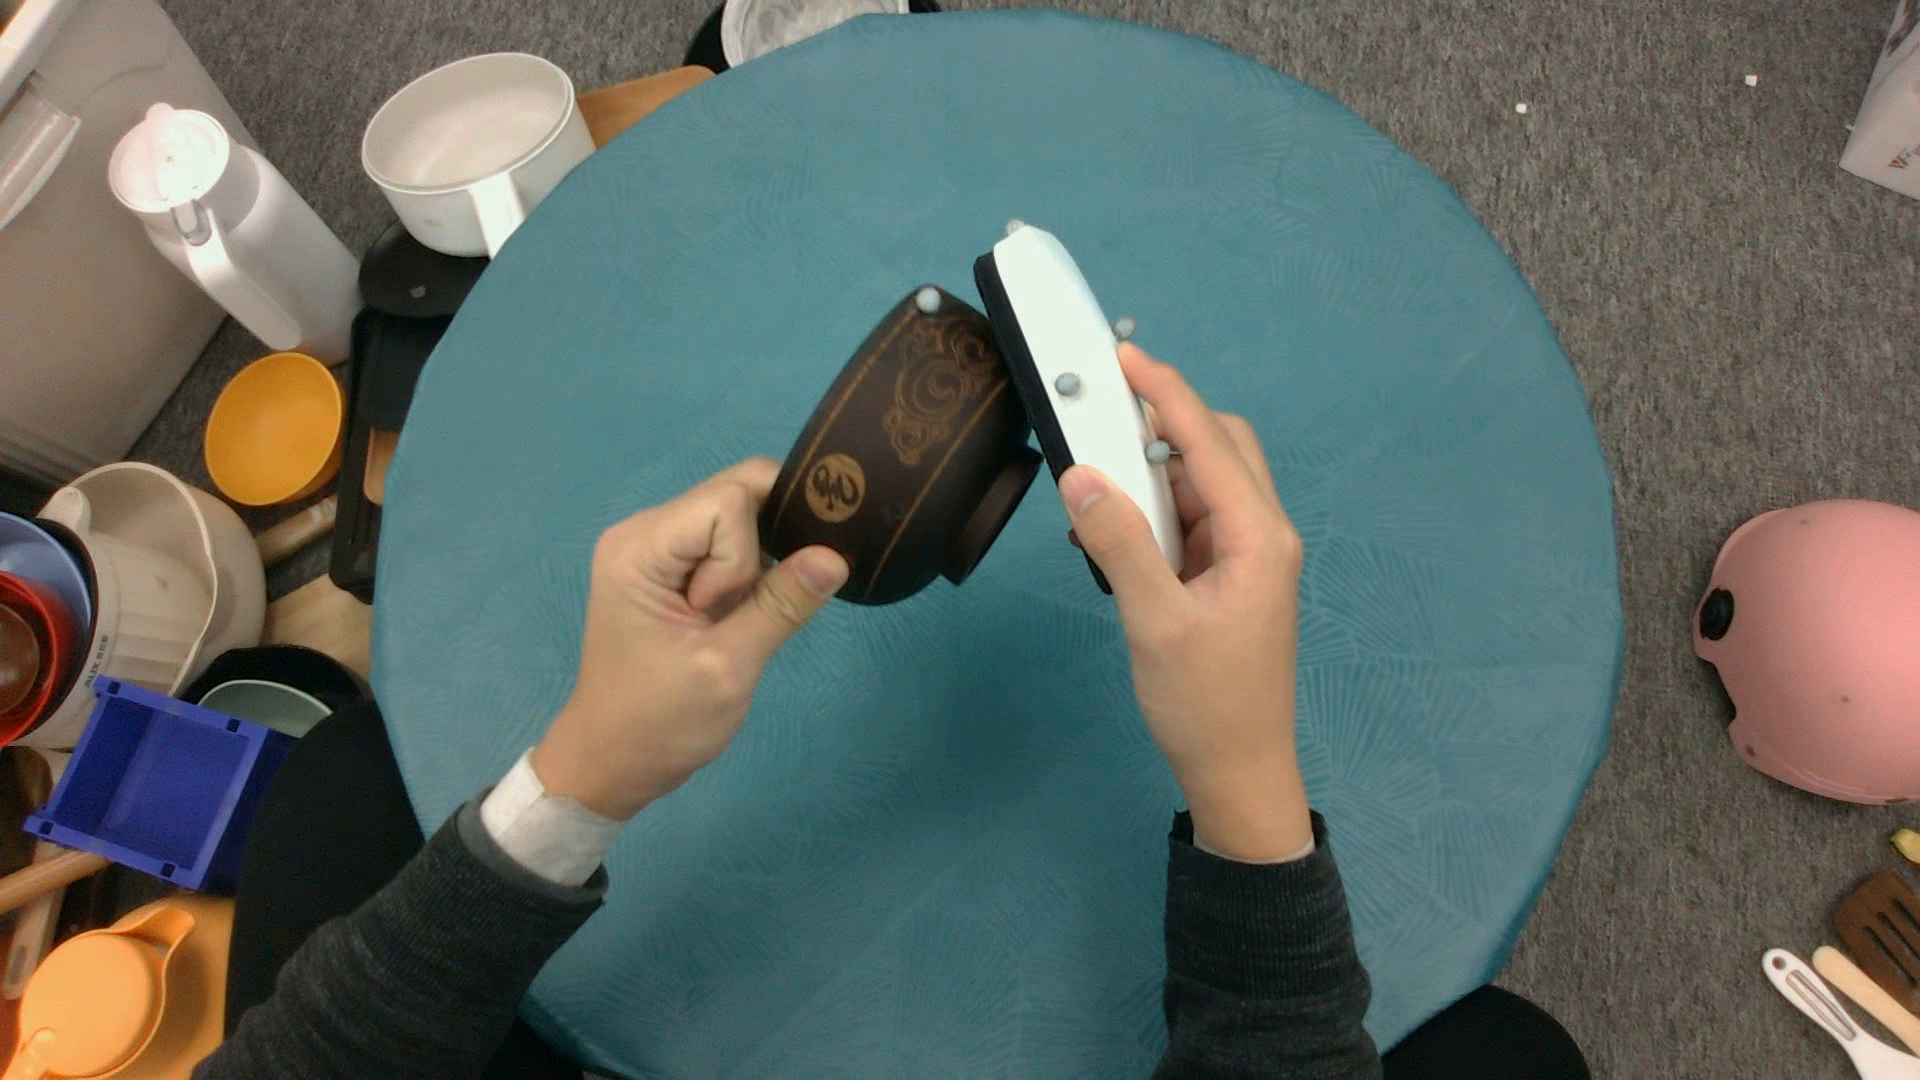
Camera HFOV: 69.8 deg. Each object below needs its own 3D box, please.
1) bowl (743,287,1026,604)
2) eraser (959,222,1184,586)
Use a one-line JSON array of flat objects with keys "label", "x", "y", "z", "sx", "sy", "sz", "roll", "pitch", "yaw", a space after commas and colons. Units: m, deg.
[{"label": "bowl", "x": -0.020, "y": -0.027, "z": 0.509, "sx": 0.070, "sy": 0.117, "sz": 0.118, "roll": 33, "pitch": 74, "yaw": -4}, {"label": "eraser", "x": 0.043, "y": -0.049, "z": 0.485, "sx": 0.034, "sy": 0.063, "sz": 0.131, "roll": -24, "pitch": 90, "yaw": 19}]
